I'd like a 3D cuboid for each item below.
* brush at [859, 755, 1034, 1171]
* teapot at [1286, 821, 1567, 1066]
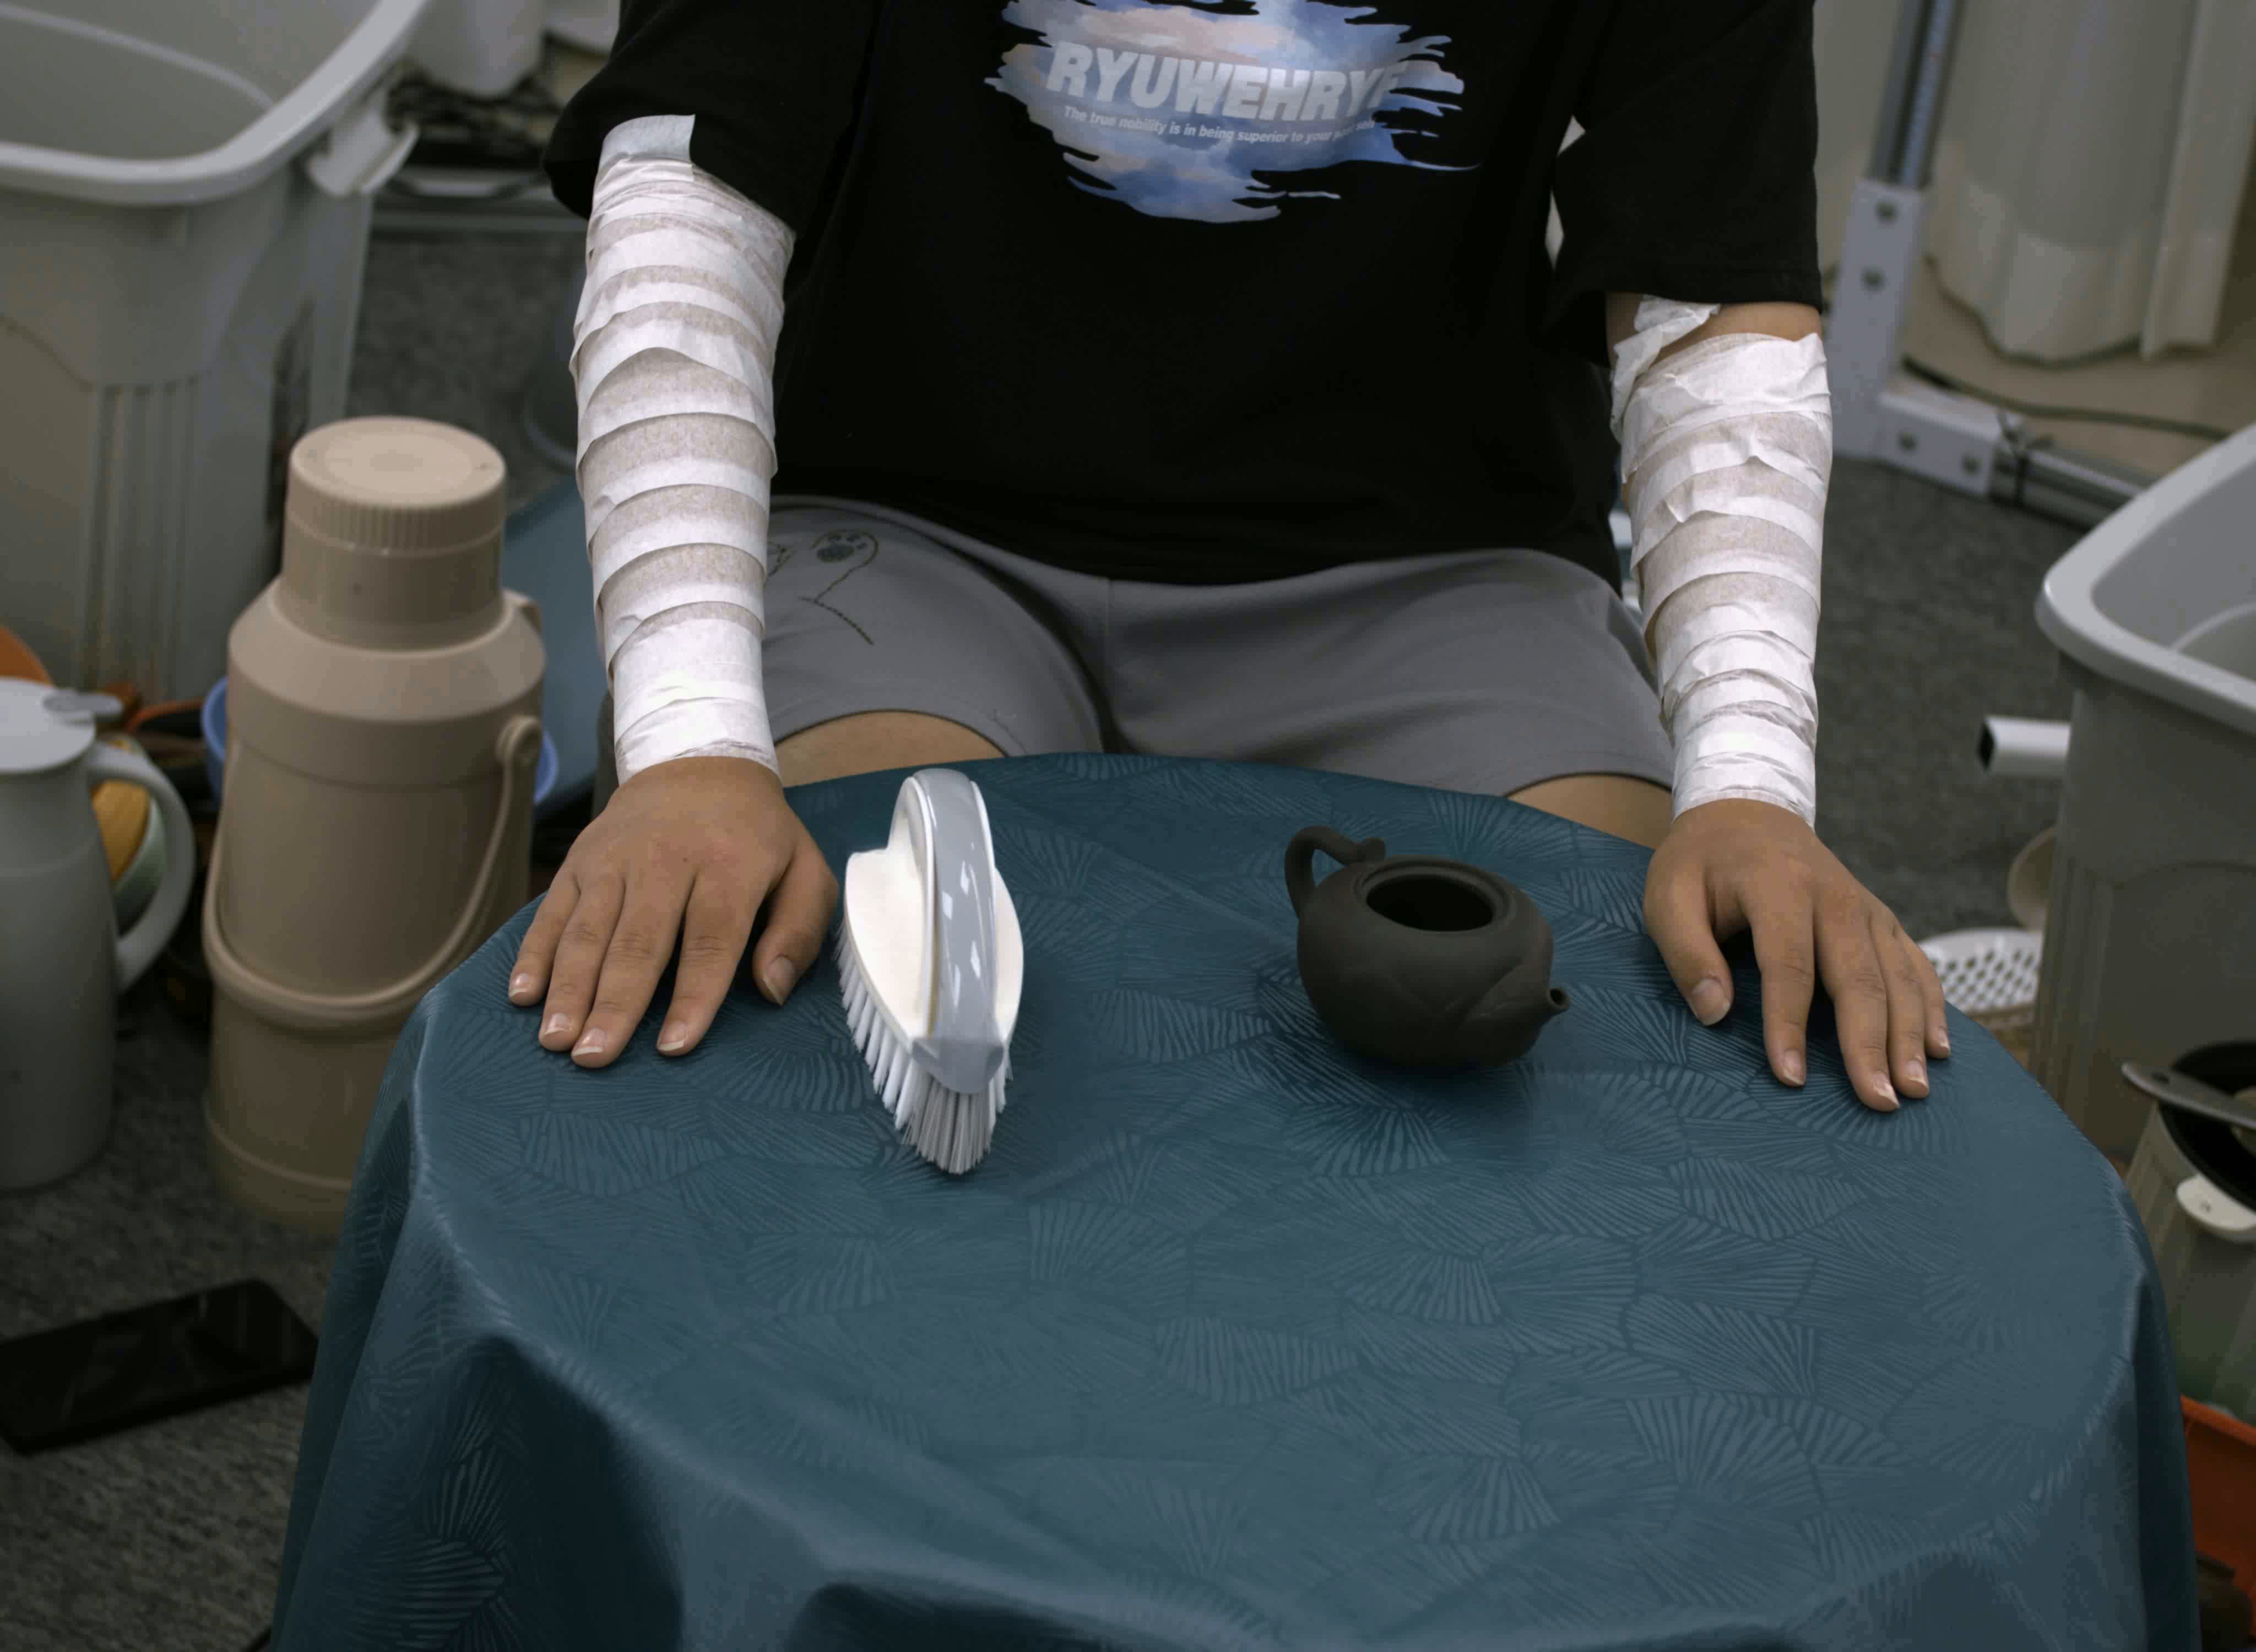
[{"bbox_3d":[-0.061,0.040,1.856,0.061,0.094,0.177,-1,29,-7],"label":"brush"},{"bbox_3d":[0.104,0.046,1.910,0.092,0.064,0.155,-12,33,-34],"label":"teapot"}]
